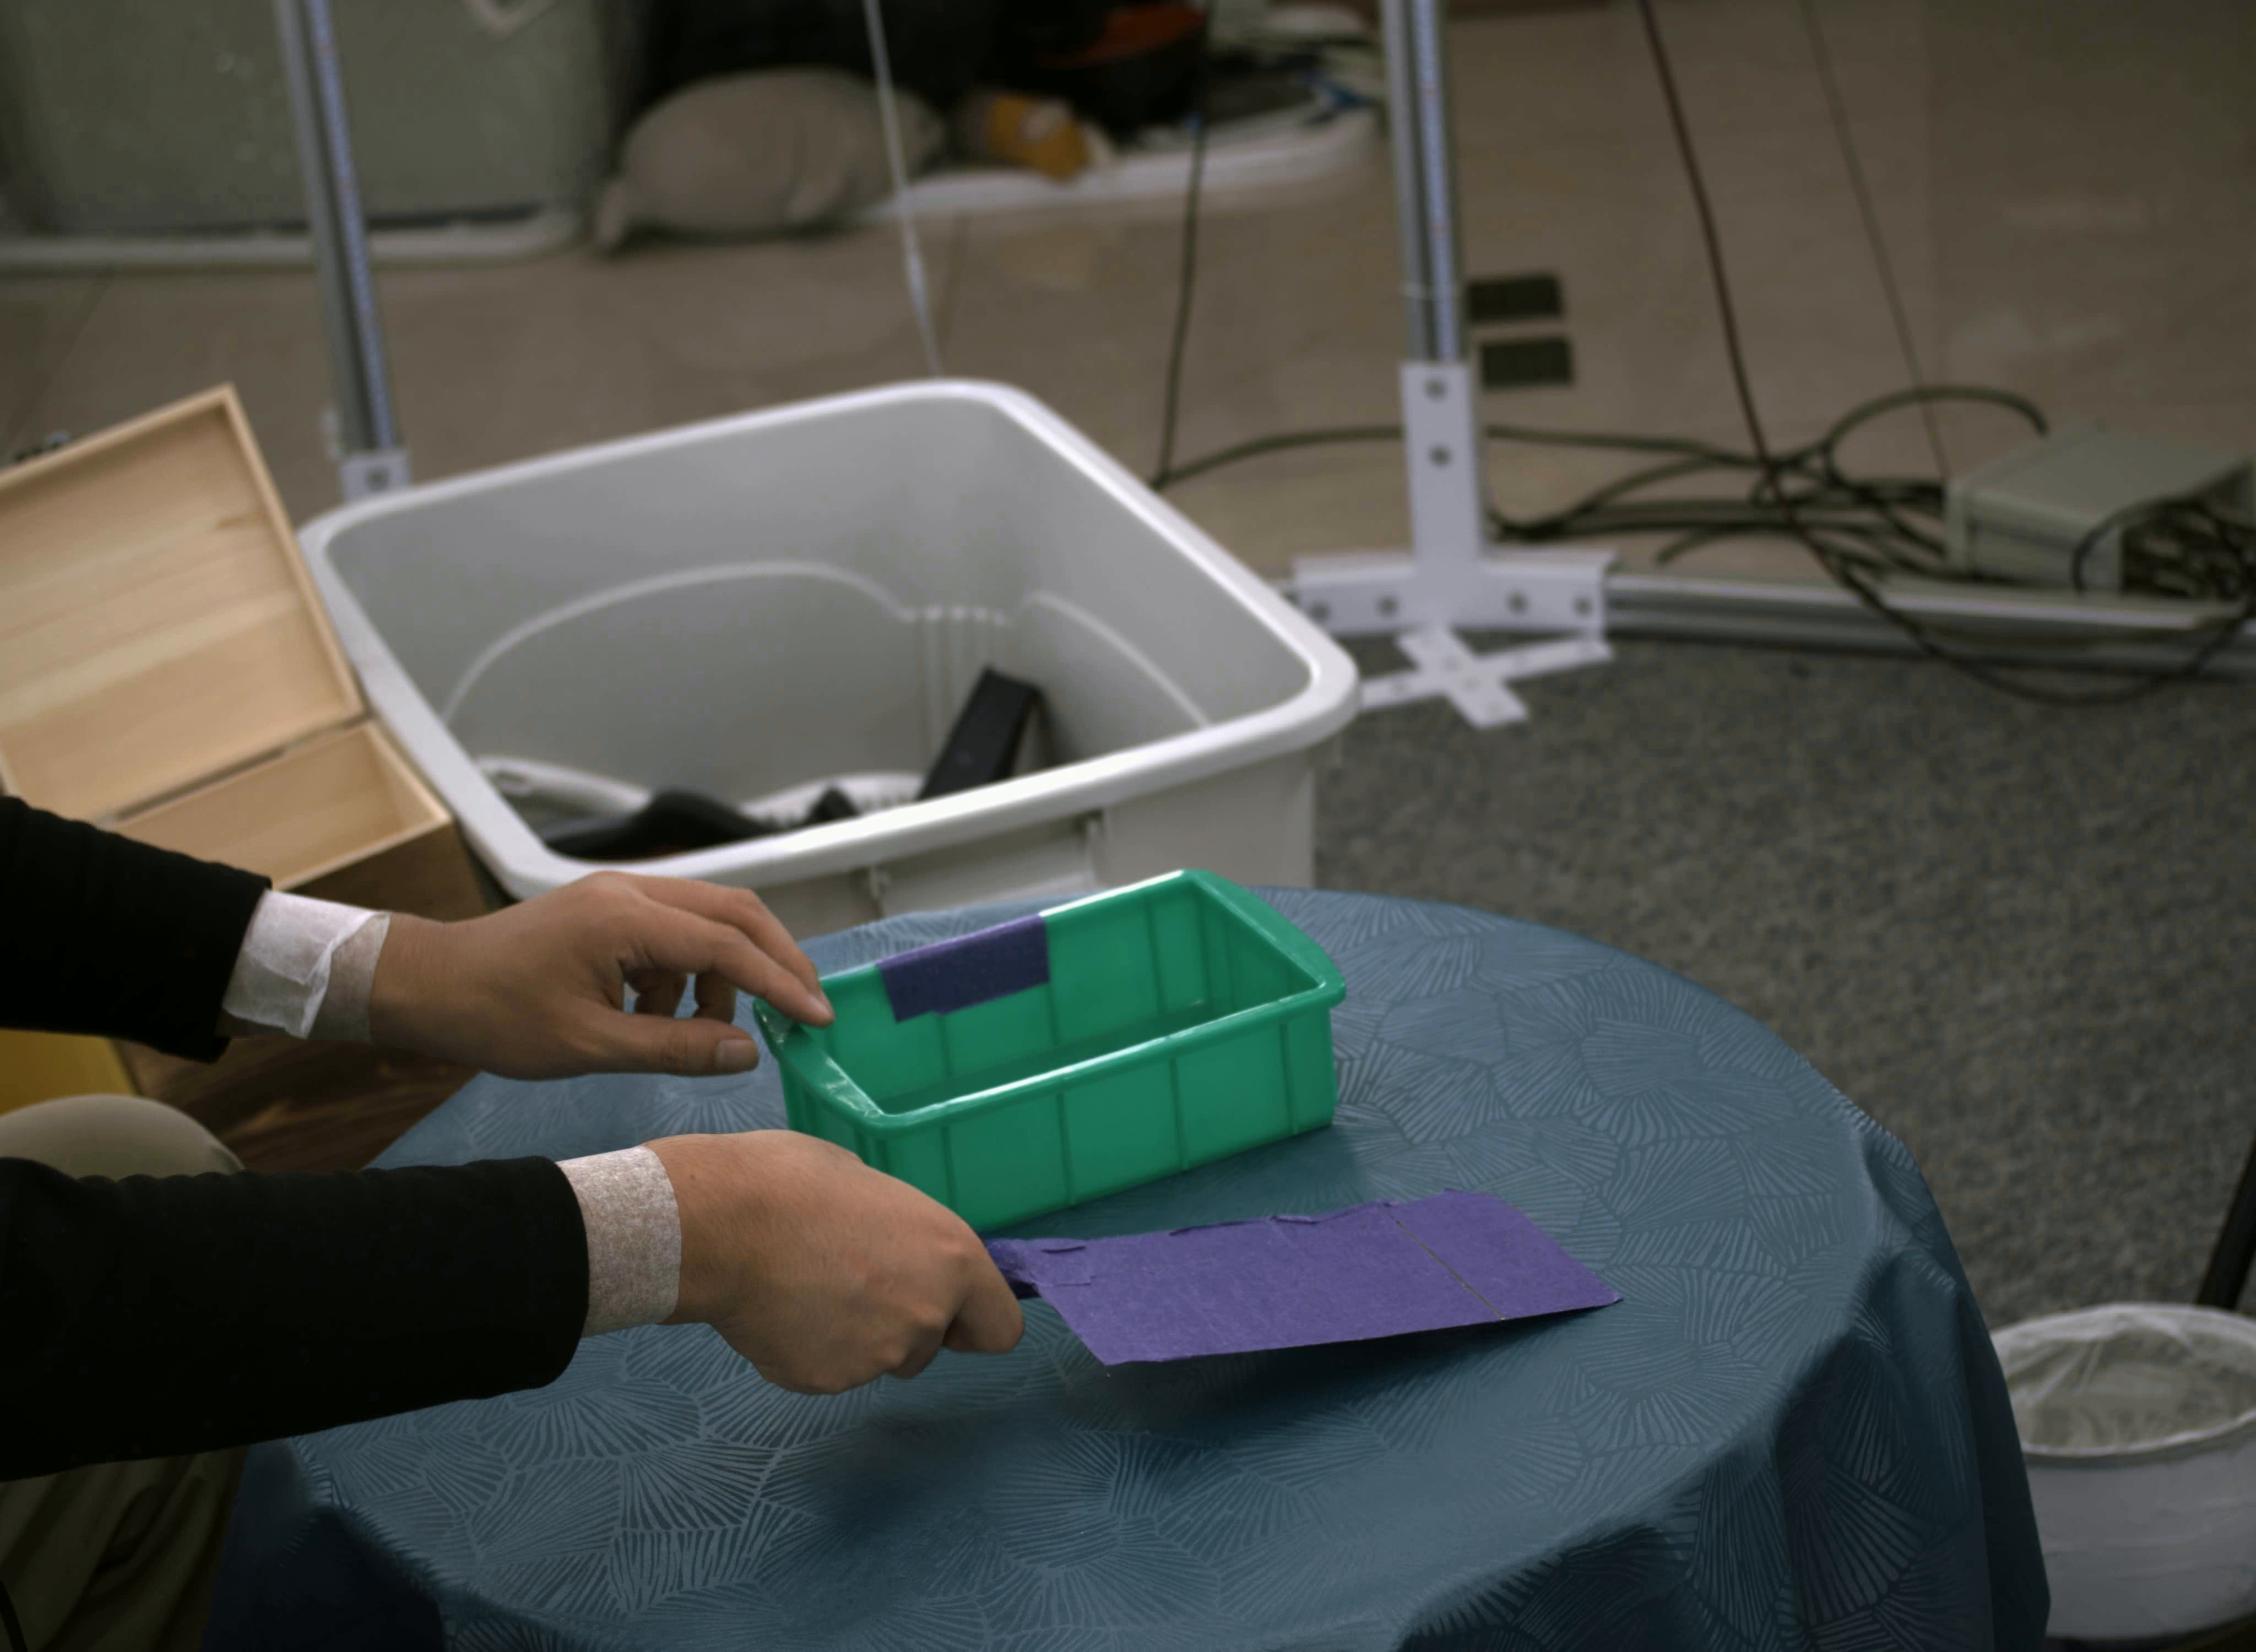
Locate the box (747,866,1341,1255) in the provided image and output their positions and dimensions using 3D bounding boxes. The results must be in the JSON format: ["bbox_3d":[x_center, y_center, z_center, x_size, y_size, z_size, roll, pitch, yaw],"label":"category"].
[{"bbox_3d":[-0.030,0.091,2.184,0.209,0.066,0.137,-18,26,-20],"label":"box"}]

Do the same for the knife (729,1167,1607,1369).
[{"bbox_3d":[0.019,0.161,2.007,0.314,0.032,0.102,-7,25,-25],"label":"knife"}]
